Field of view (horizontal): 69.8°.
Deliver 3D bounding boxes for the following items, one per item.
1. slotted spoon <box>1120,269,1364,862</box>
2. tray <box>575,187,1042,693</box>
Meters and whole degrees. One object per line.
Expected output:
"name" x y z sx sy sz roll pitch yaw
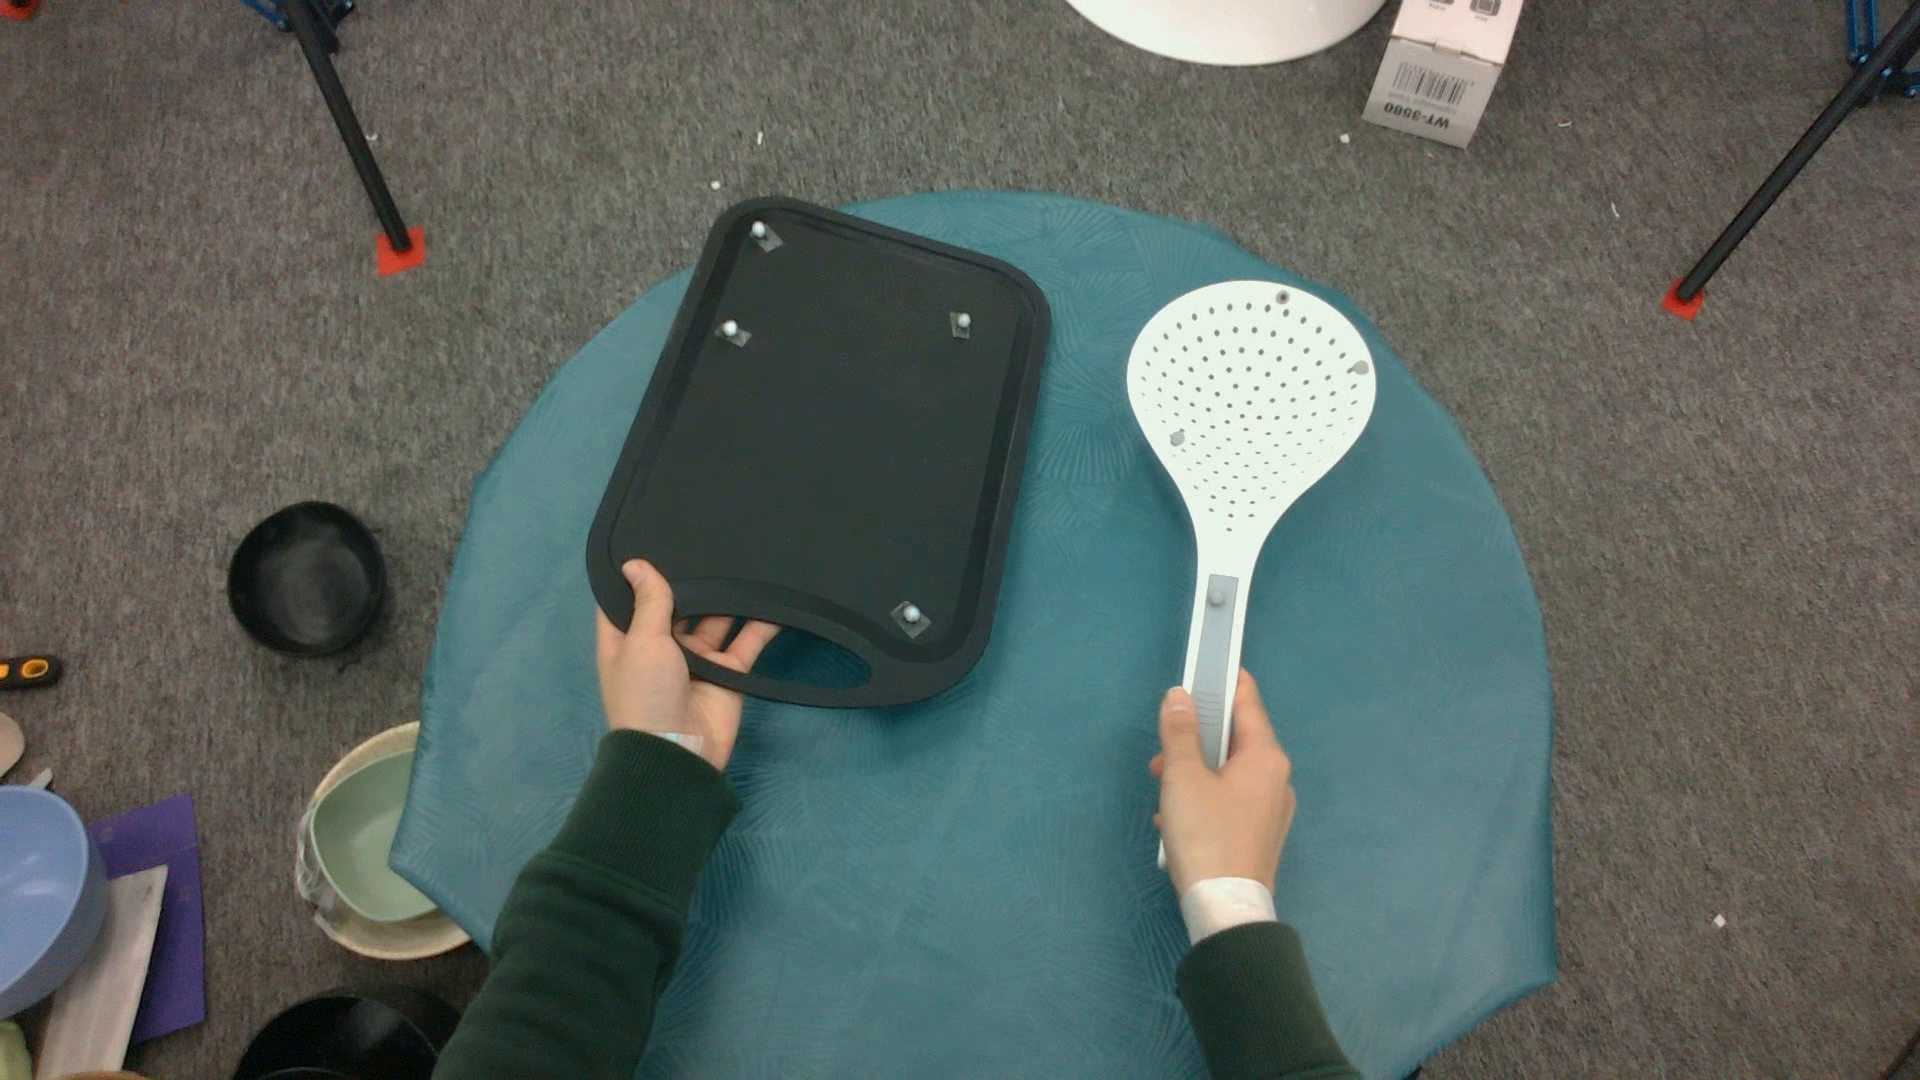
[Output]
"slotted spoon" 0.137 -0.001 0.732 0.136 0.045 0.351 8 58 10
"tray" -0.072 -0.065 0.752 0.211 0.010 0.327 15 56 -4
